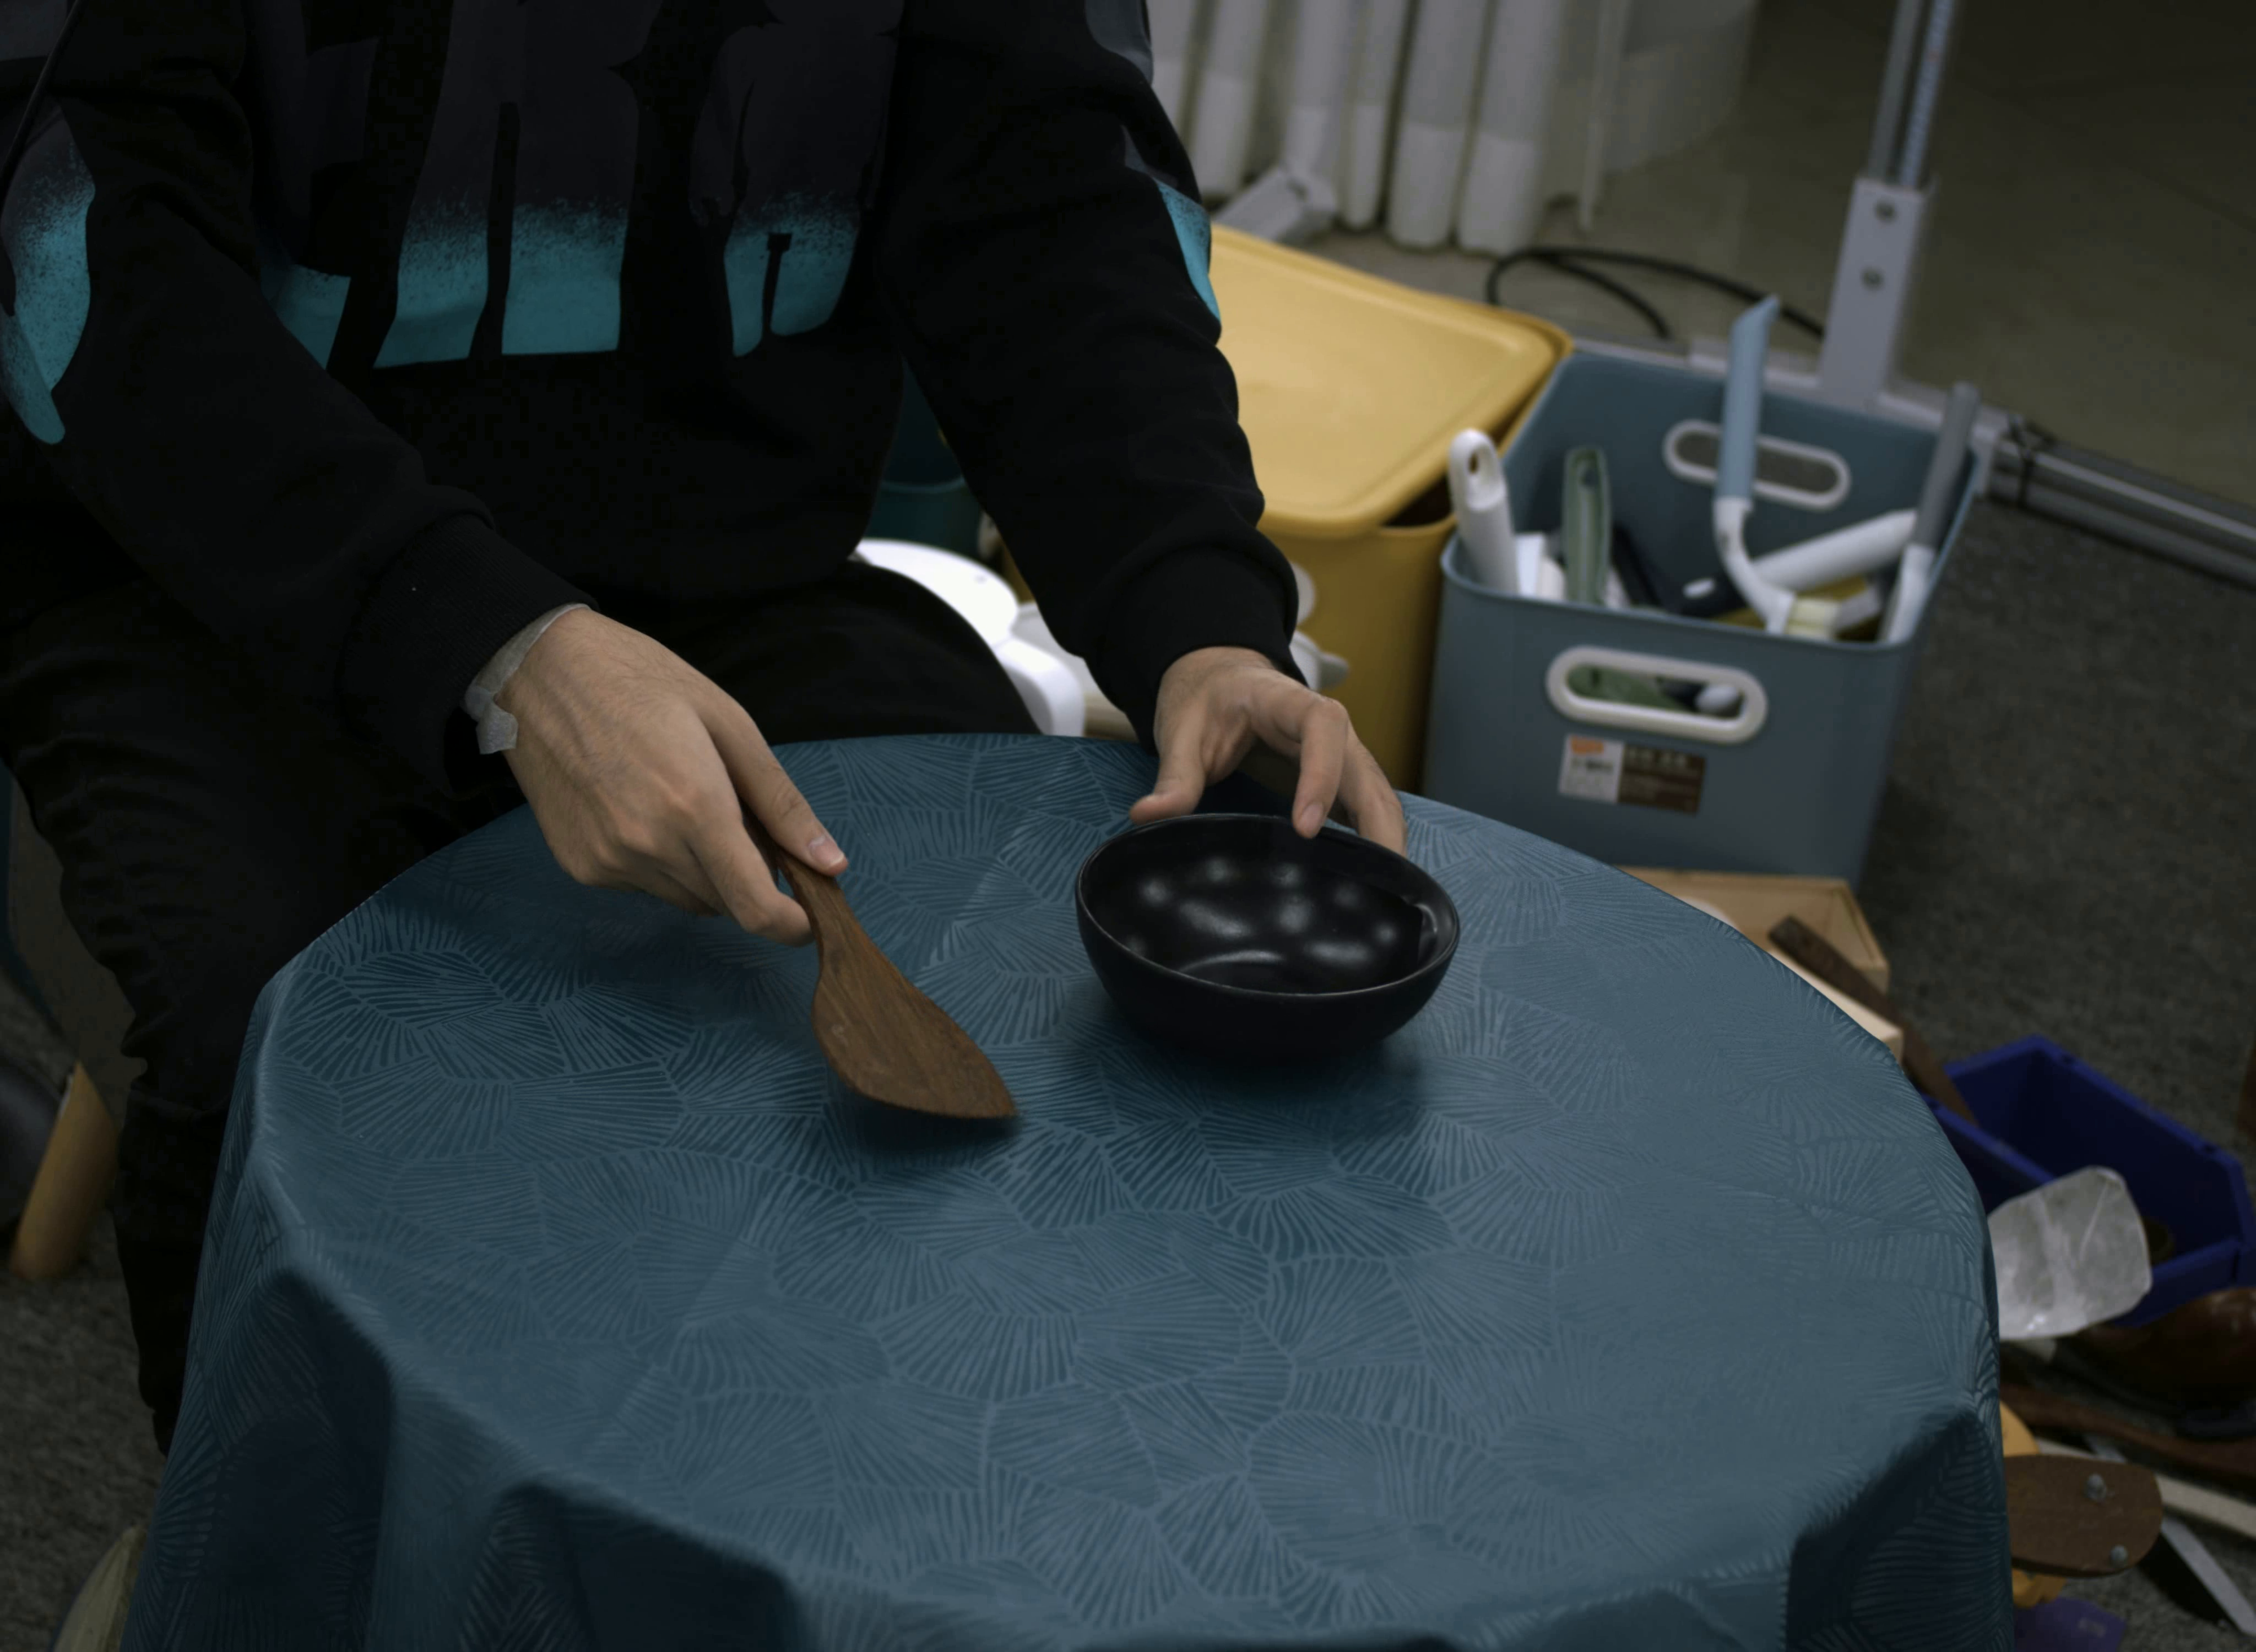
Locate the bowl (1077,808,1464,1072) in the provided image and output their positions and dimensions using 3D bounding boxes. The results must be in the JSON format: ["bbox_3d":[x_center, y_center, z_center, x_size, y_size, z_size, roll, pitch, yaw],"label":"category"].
[{"bbox_3d":[0.049,0.049,1.905,0.139,0.049,0.141,3,29,-2],"label":"bowl"}]

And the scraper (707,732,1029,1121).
[{"bbox_3d":[-0.102,0.034,1.873,0.075,0.011,0.213,12,32,-38],"label":"scraper"}]
